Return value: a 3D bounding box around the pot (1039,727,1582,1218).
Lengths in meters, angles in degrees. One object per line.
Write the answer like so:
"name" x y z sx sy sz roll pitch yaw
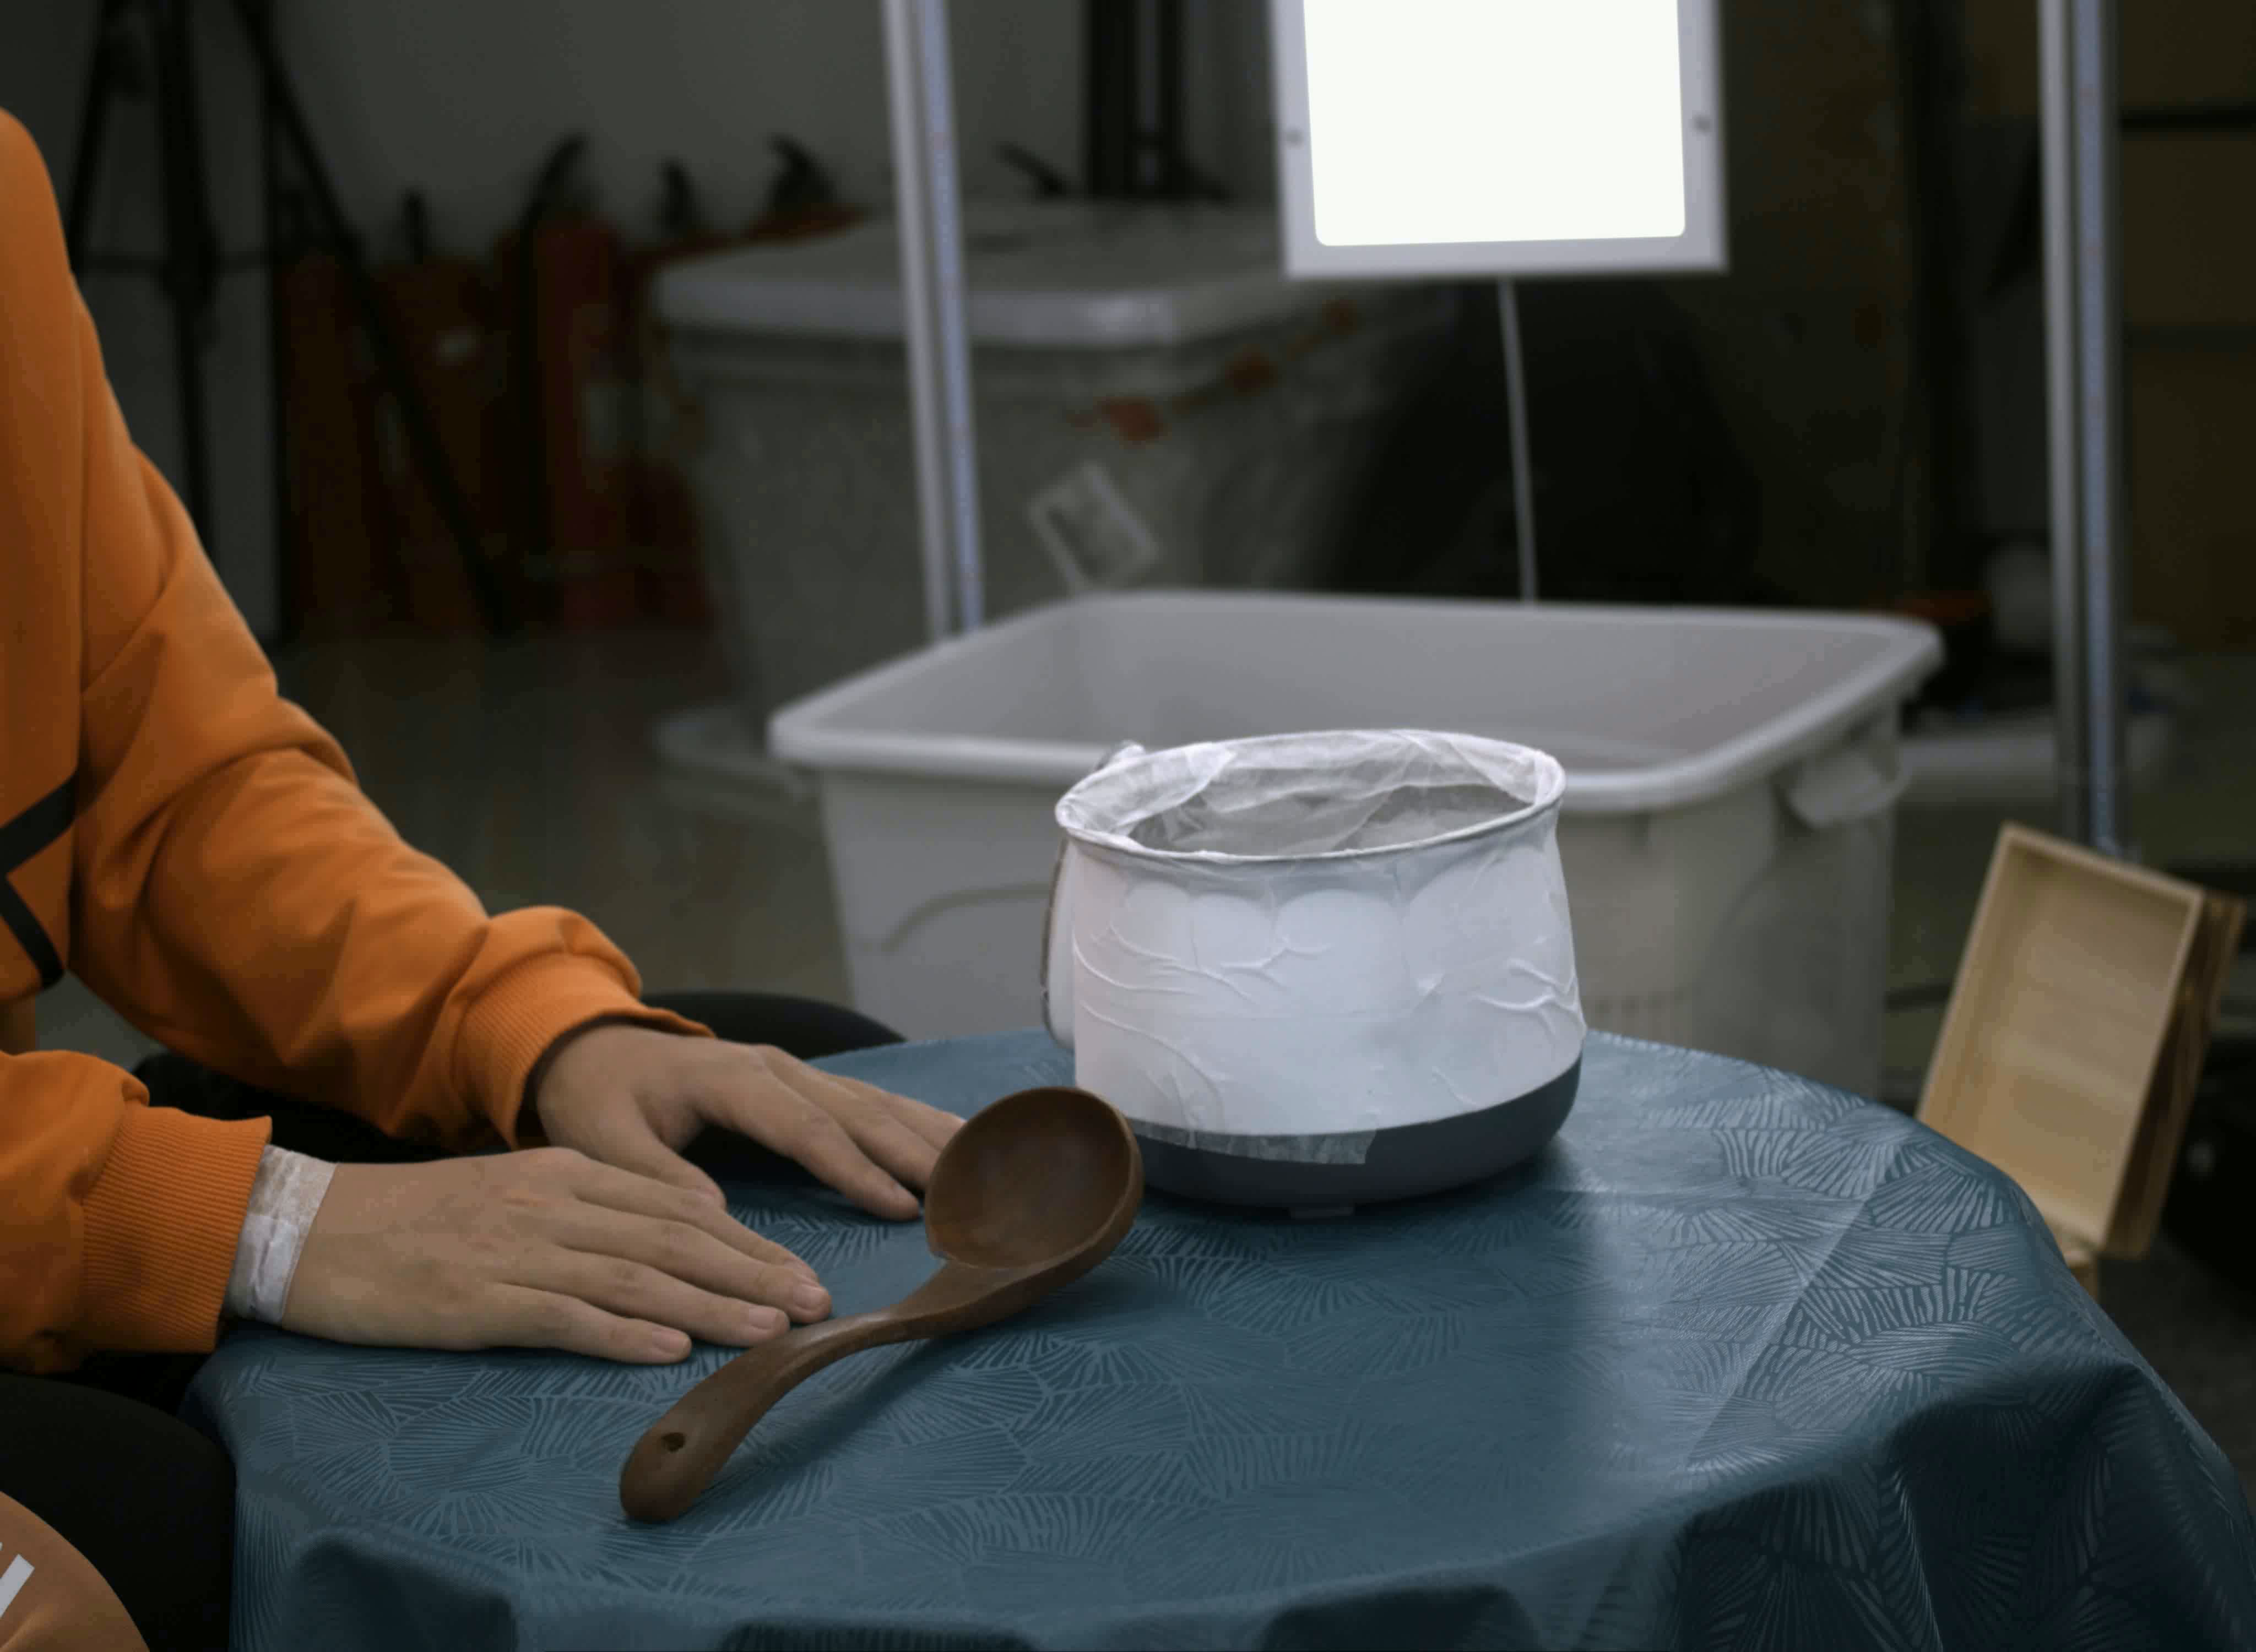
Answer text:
"pot" 0.049 0.045 1.921 0.174 0.137 0.238 -15 17 -38

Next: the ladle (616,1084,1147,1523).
"ladle" -0.080 0.144 1.720 0.078 0.065 0.254 1 15 34
